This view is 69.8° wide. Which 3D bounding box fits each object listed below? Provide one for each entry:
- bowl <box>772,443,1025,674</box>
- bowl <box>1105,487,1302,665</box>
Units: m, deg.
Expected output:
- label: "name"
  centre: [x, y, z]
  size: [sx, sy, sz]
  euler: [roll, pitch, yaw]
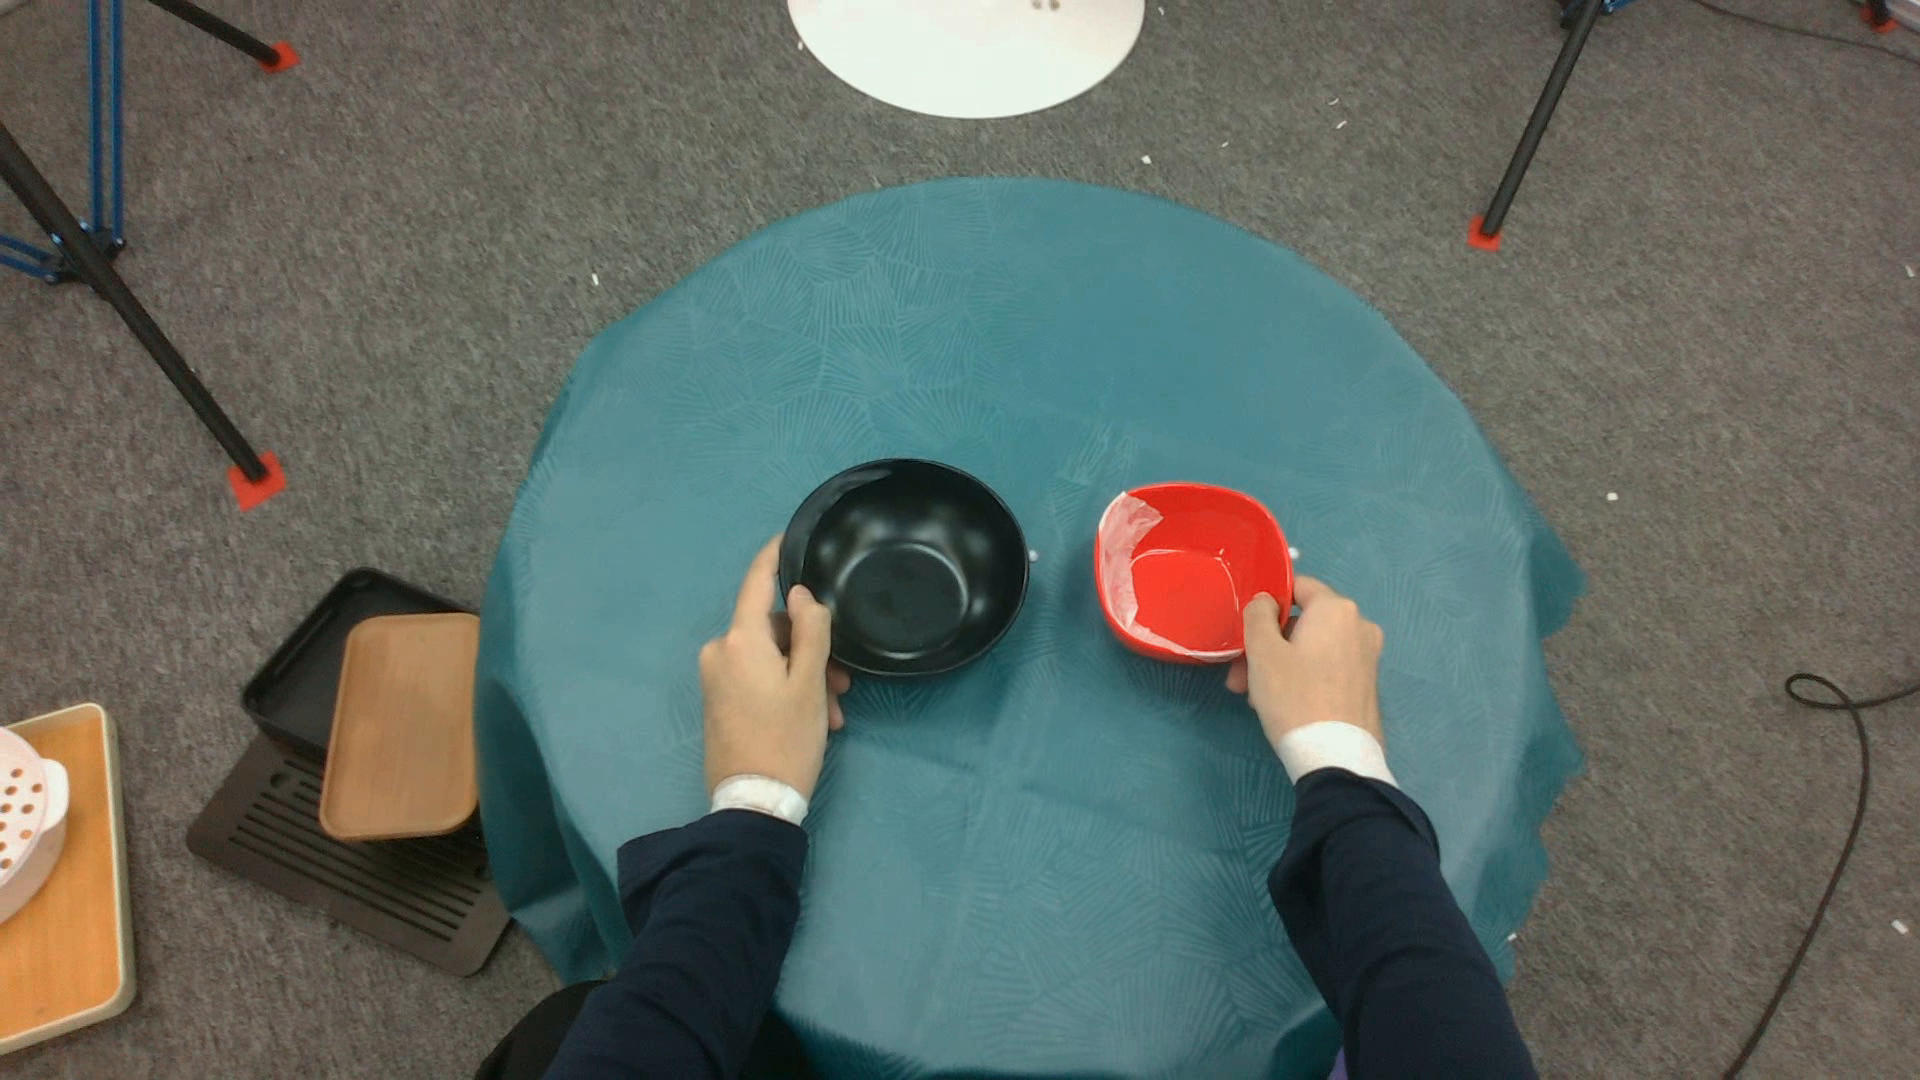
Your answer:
- label: "bowl"
  centre: [-0.034, 0.016, 0.774]
  size: [0.140, 0.049, 0.140]
  euler: [1, 63, -1]
- label: "bowl"
  centre: [0.132, 0.029, 0.781]
  size: [0.119, 0.051, 0.119]
  euler: [5, 53, -6]
